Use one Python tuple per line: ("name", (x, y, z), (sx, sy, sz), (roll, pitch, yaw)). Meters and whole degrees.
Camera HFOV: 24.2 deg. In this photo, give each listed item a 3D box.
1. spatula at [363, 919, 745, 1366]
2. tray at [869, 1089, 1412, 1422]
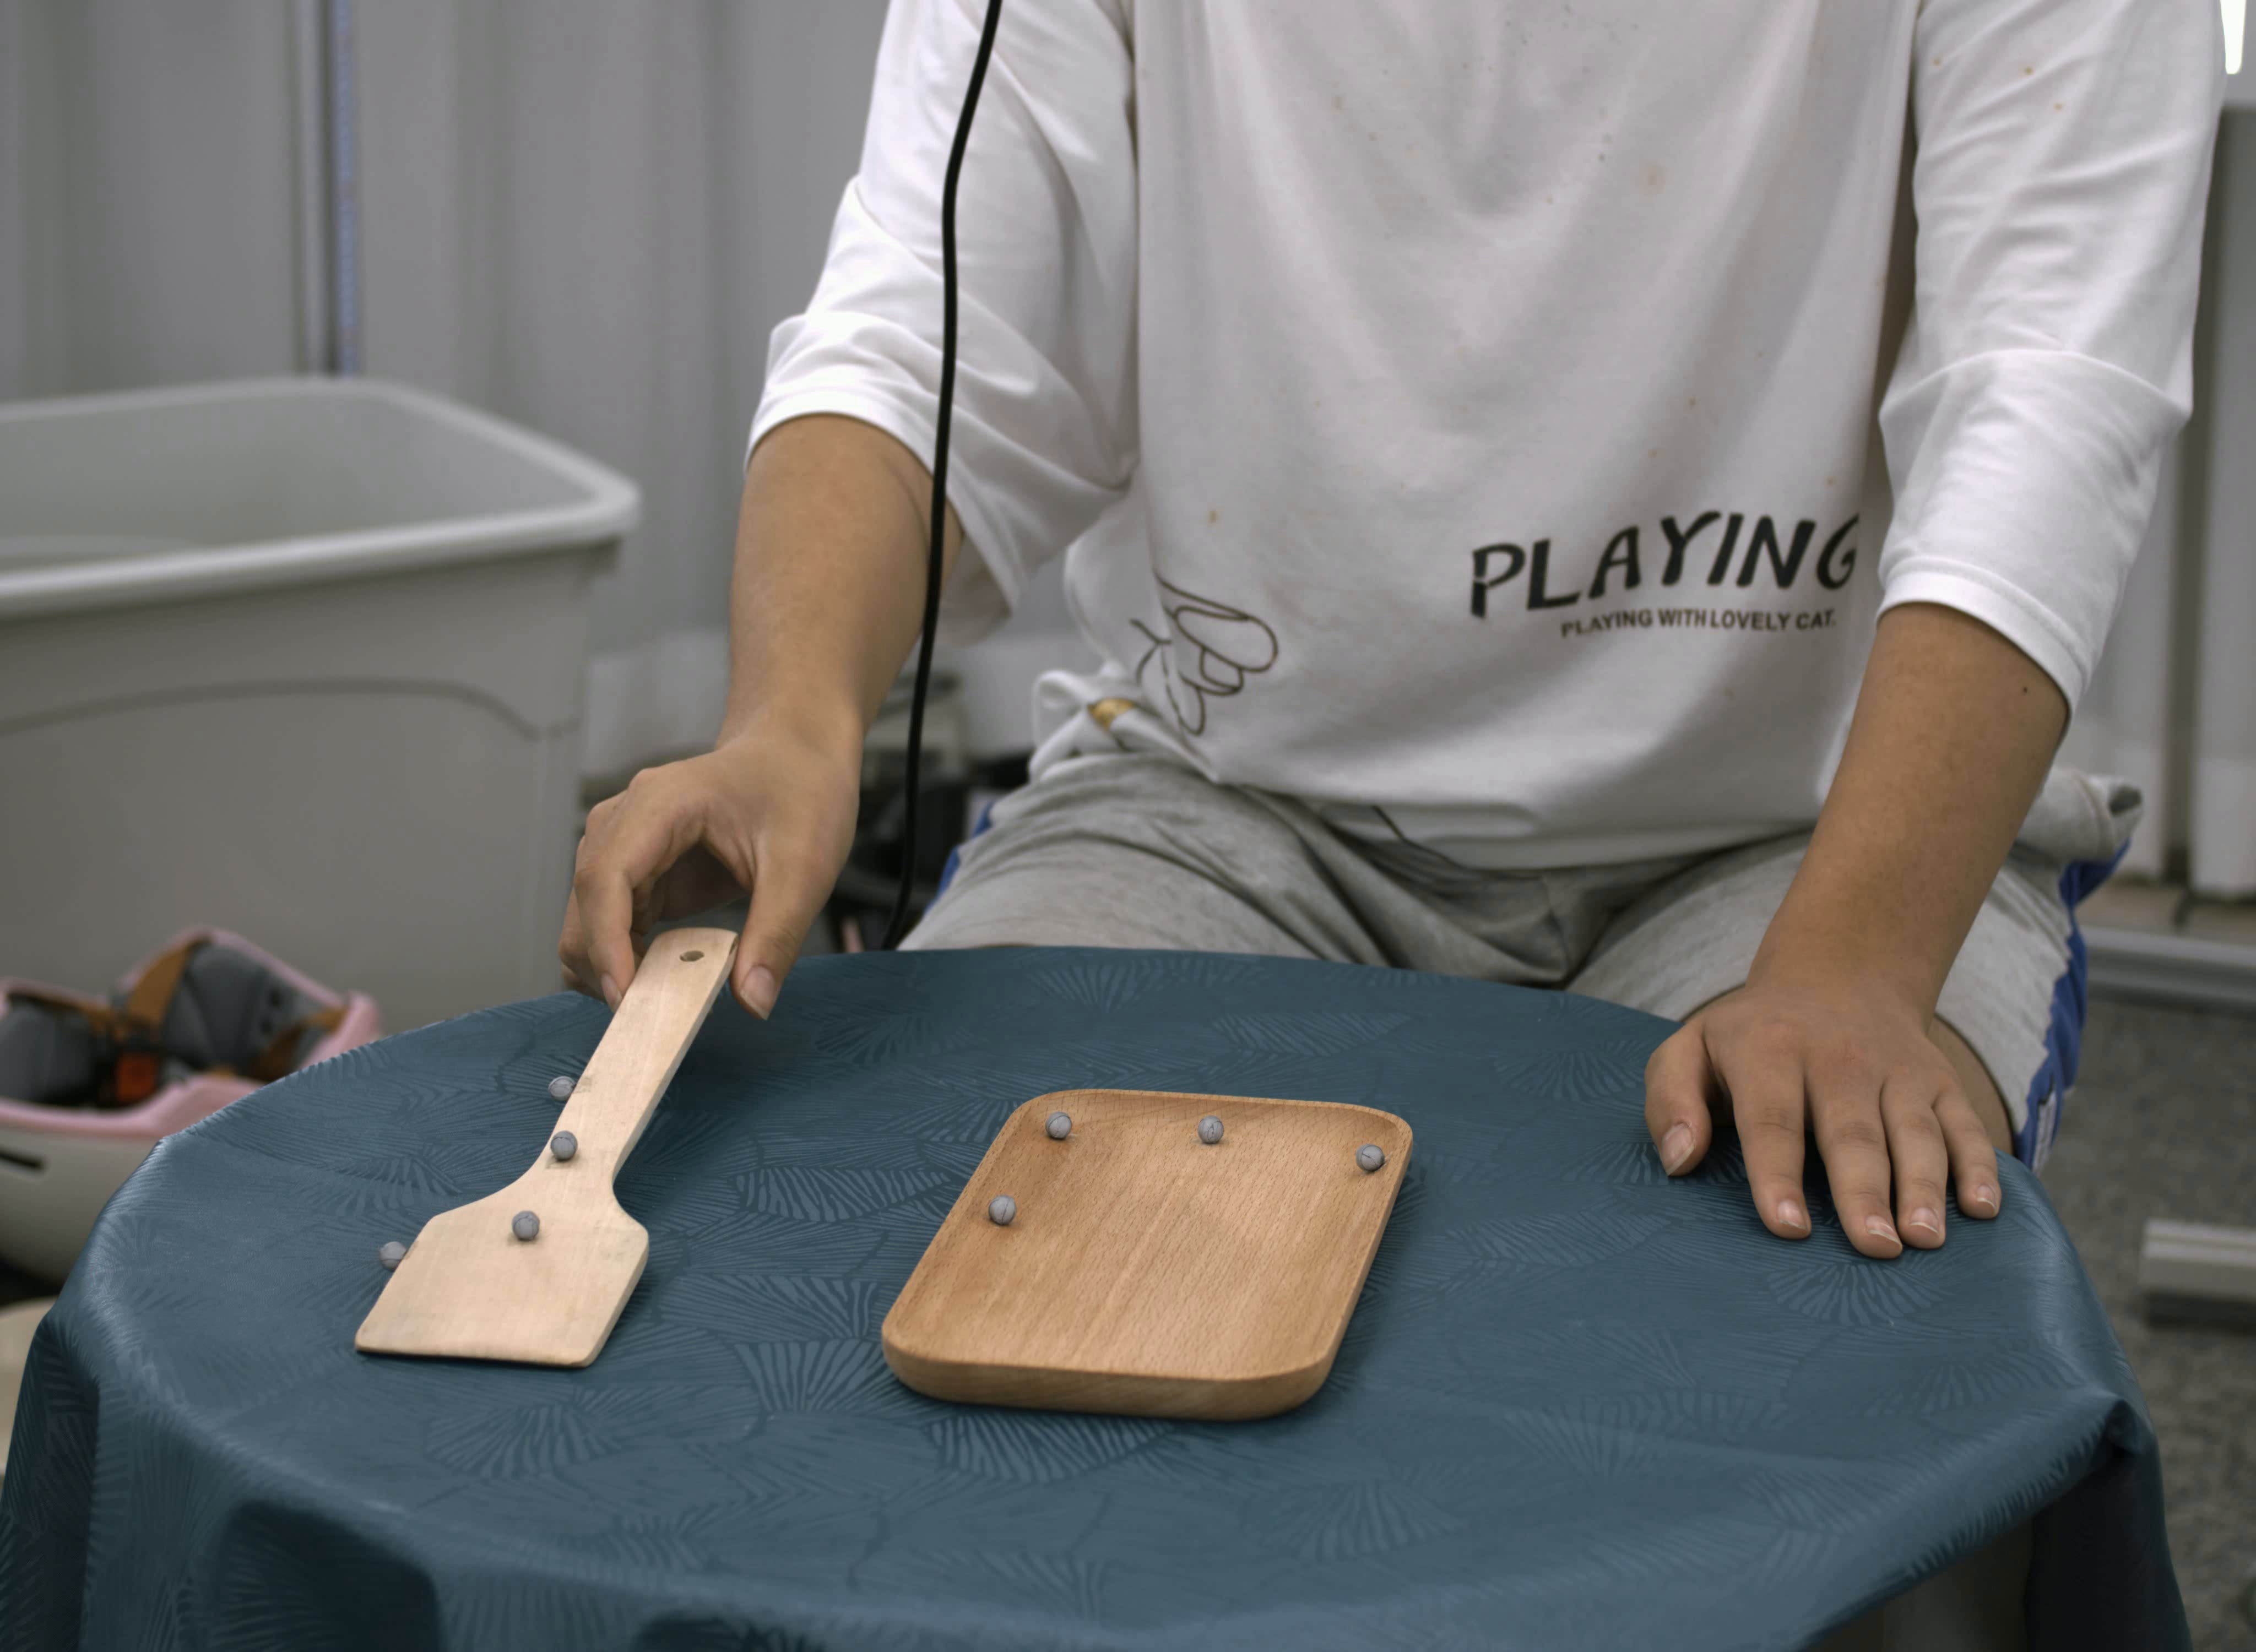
("spatula", (-0.162, 0.092, 1.612), (0.072, 0.011, 0.291), (3, 25, 8))
("tray", (0.008, 0.124, 1.558), (0.129, 0.023, 0.250), (1, 16, 11))
